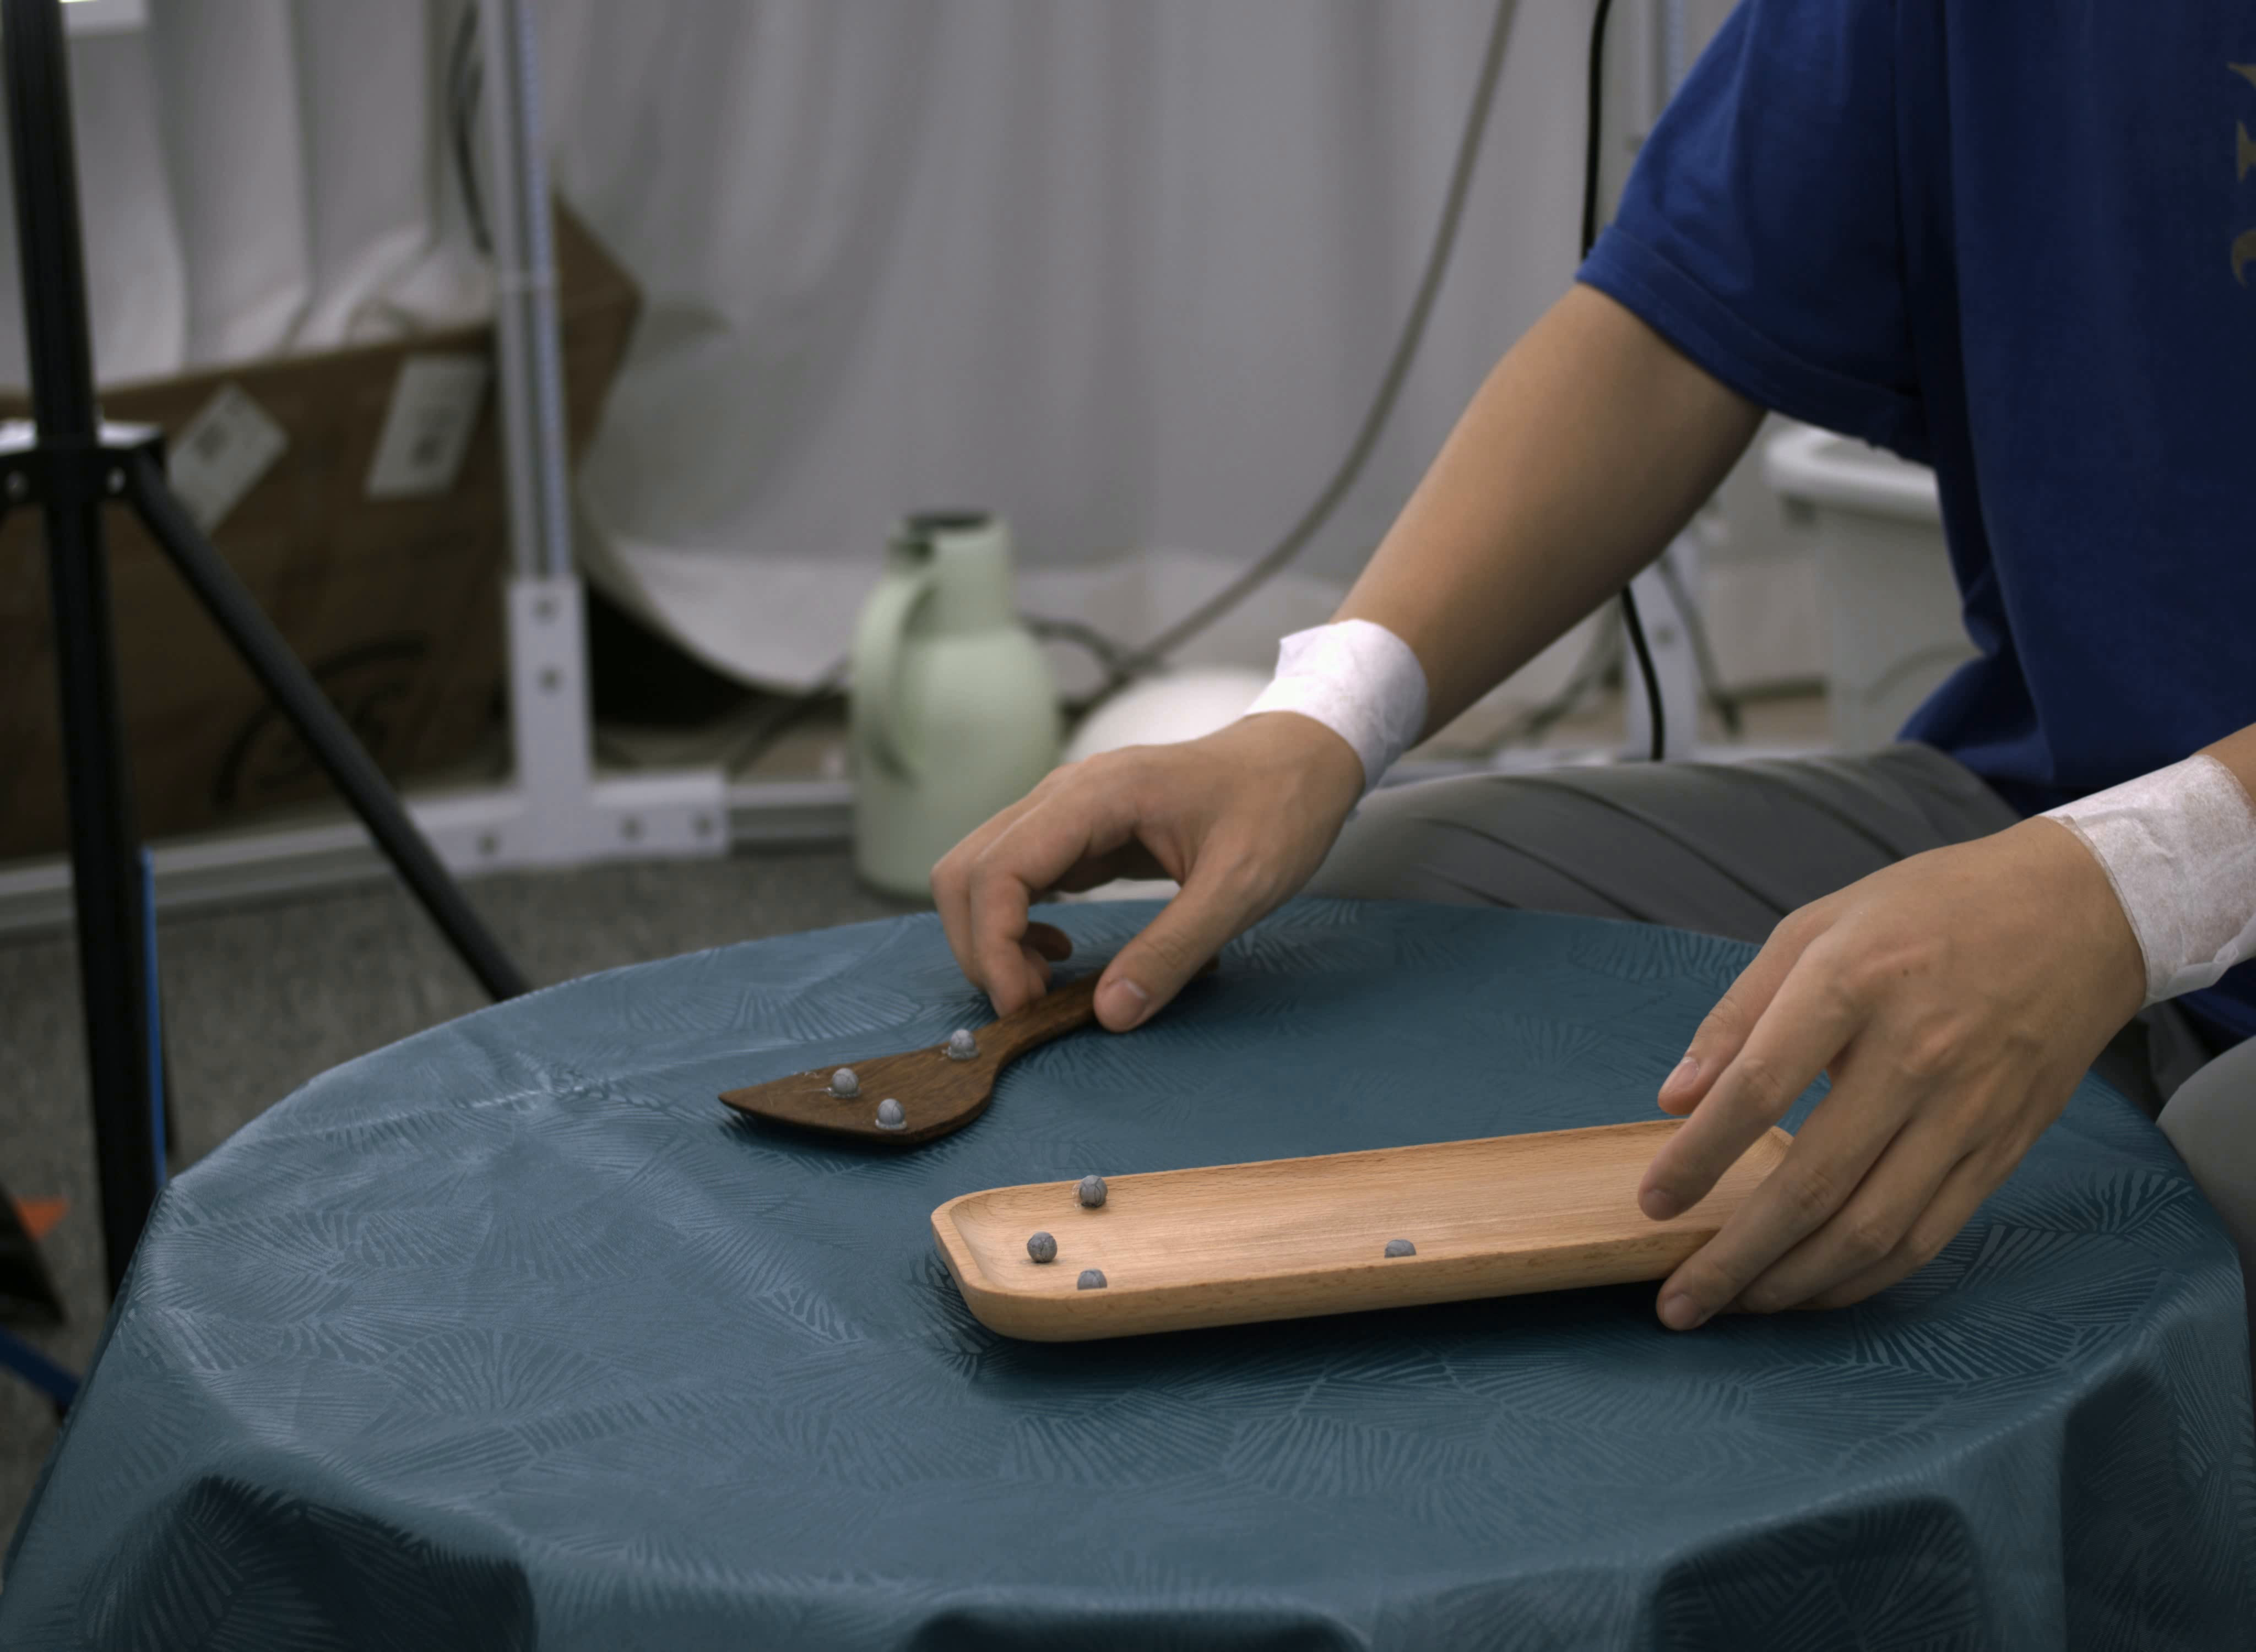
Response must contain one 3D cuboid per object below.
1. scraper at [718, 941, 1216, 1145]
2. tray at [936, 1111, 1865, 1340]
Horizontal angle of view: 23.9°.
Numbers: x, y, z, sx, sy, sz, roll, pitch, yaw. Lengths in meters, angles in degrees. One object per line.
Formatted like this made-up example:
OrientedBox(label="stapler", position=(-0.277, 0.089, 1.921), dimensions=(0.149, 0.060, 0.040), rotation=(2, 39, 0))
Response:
OrientedBox(label="scraper", position=(-0.040, 0.067, 1.689), dimensions=(0.077, 0.011, 0.207), rotation=(11, 21, 35))
OrientedBox(label="tray", position=(0.075, 0.111, 1.479), dimensions=(0.248, 0.023, 0.131), rotation=(-5, 13, -6))
